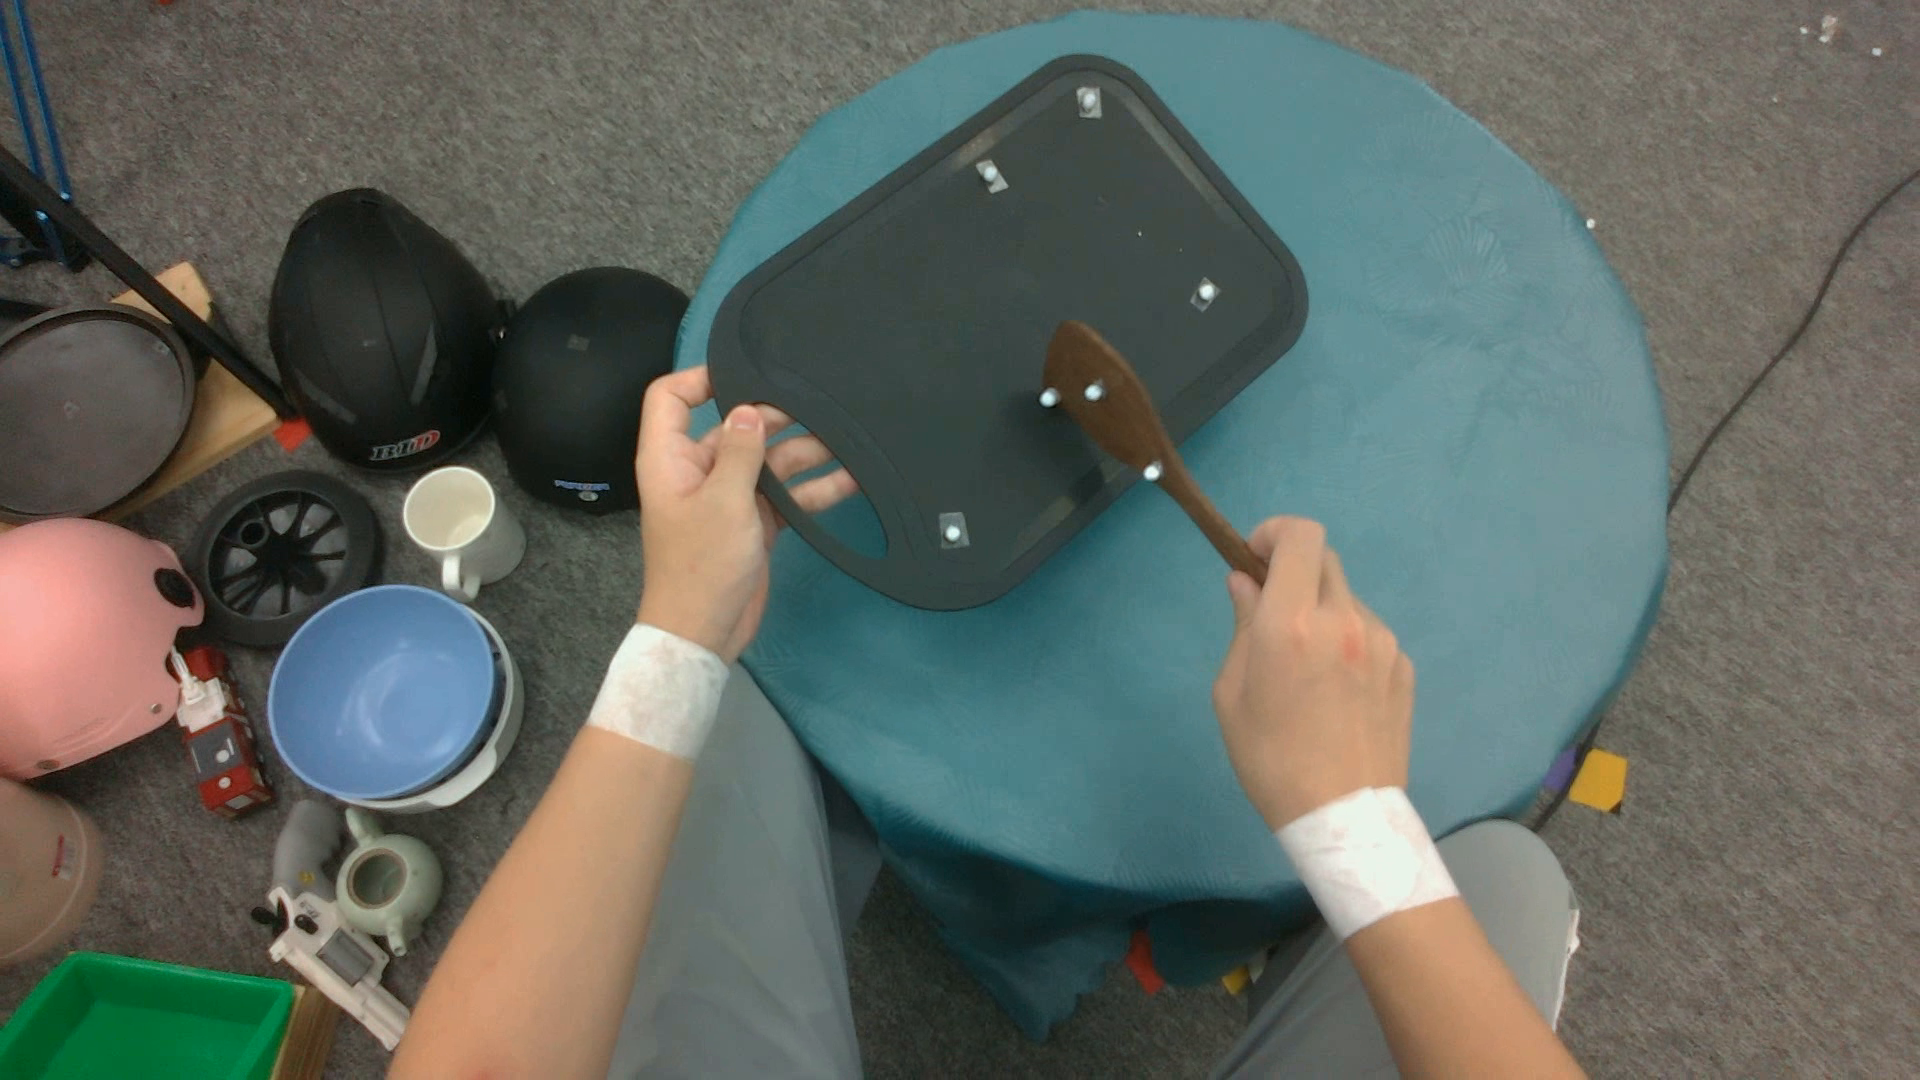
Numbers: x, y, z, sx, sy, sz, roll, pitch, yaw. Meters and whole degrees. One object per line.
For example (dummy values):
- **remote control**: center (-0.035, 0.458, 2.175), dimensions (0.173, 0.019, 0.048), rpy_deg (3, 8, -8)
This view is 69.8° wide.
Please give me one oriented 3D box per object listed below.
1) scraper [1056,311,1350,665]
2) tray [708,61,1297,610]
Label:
- **scraper**: center (0.119, -0.024, 0.681), dimensions (0.011, 0.075, 0.211), rpy_deg (-32, 75, -21)
- **tray**: center (0.028, -0.114, 0.738), dimensions (0.326, 0.010, 0.211), rpy_deg (-40, 89, -19)
